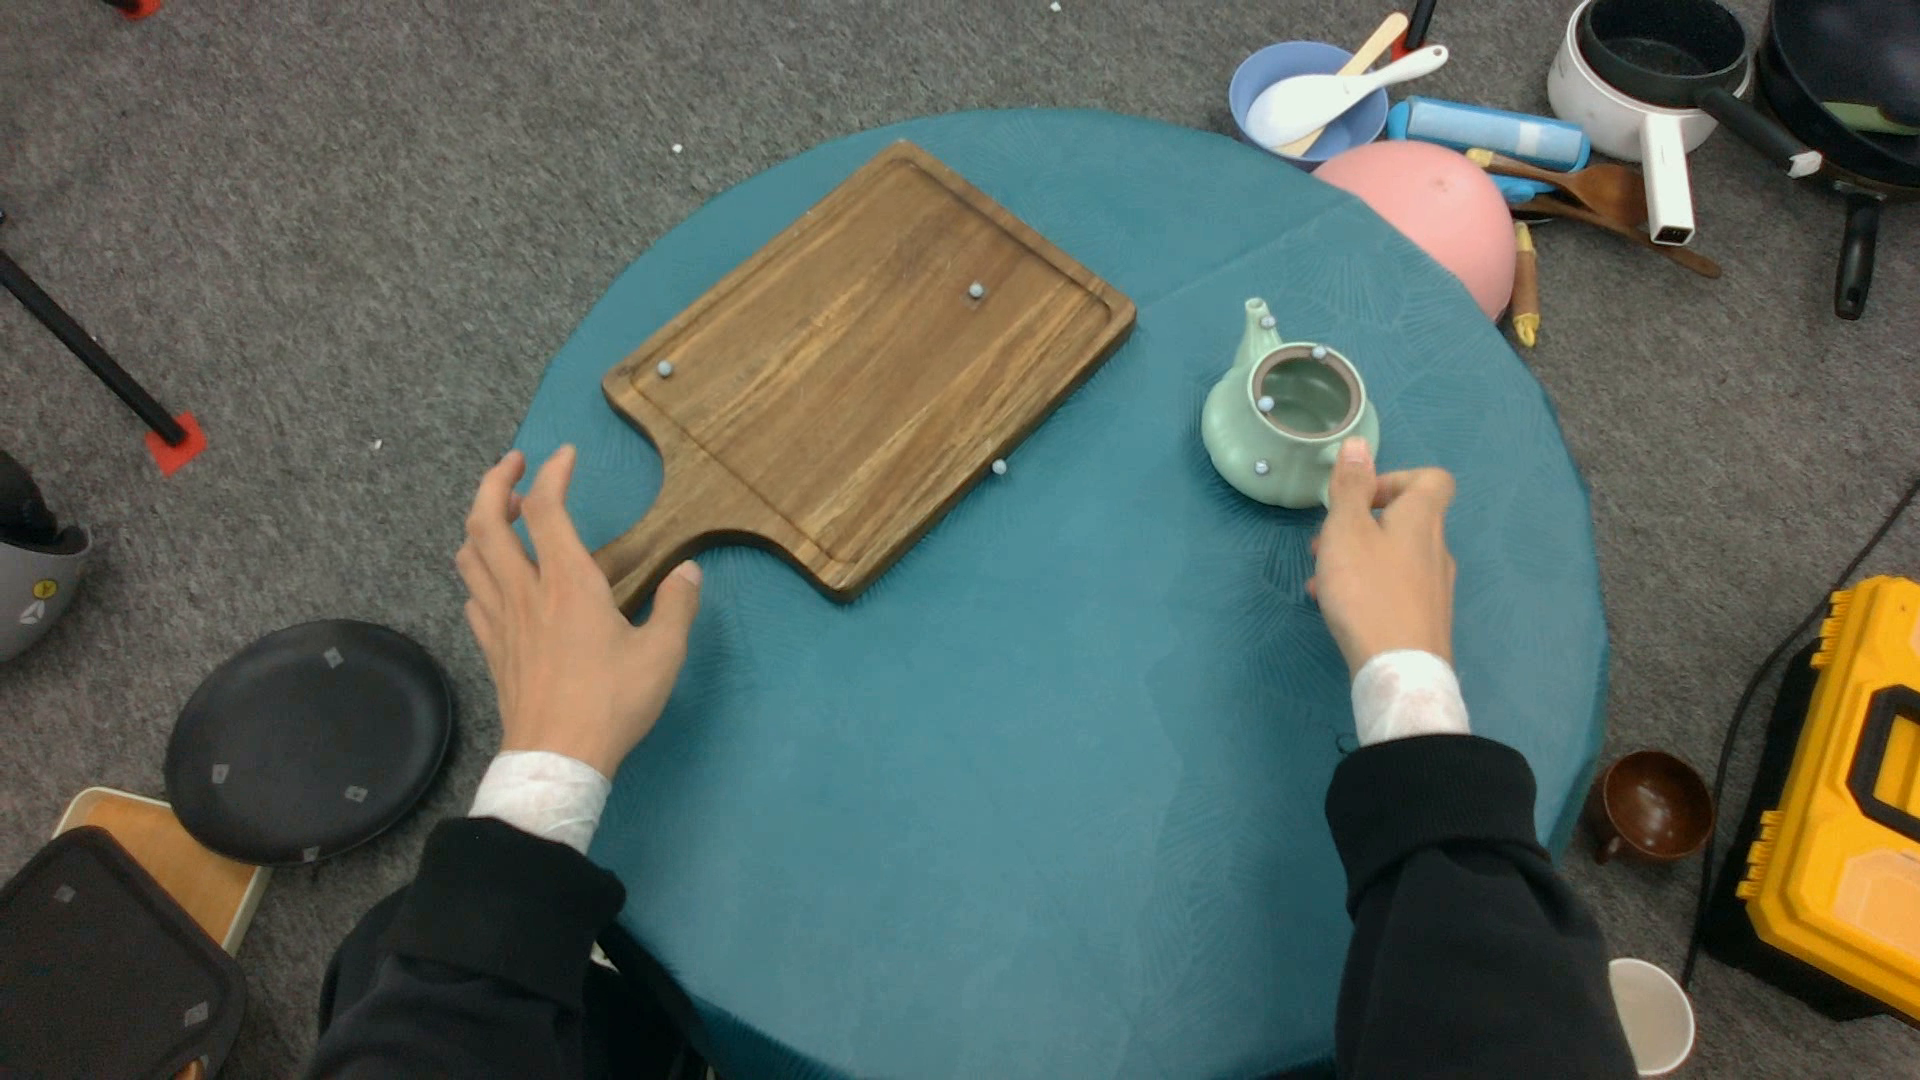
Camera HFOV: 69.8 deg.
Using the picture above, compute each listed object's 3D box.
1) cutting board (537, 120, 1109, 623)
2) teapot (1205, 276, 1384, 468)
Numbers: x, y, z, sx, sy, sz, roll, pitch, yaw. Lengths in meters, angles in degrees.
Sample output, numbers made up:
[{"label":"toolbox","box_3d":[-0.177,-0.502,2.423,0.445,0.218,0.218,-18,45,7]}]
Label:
[{"label":"cutting board","box_3d":[-0.097,-0.085,0.768,0.201,0.023,0.353,38,68,16]},{"label":"teapot","box_3d":[0.177,-0.086,0.737,0.096,0.061,0.137,-34,50,10]}]
